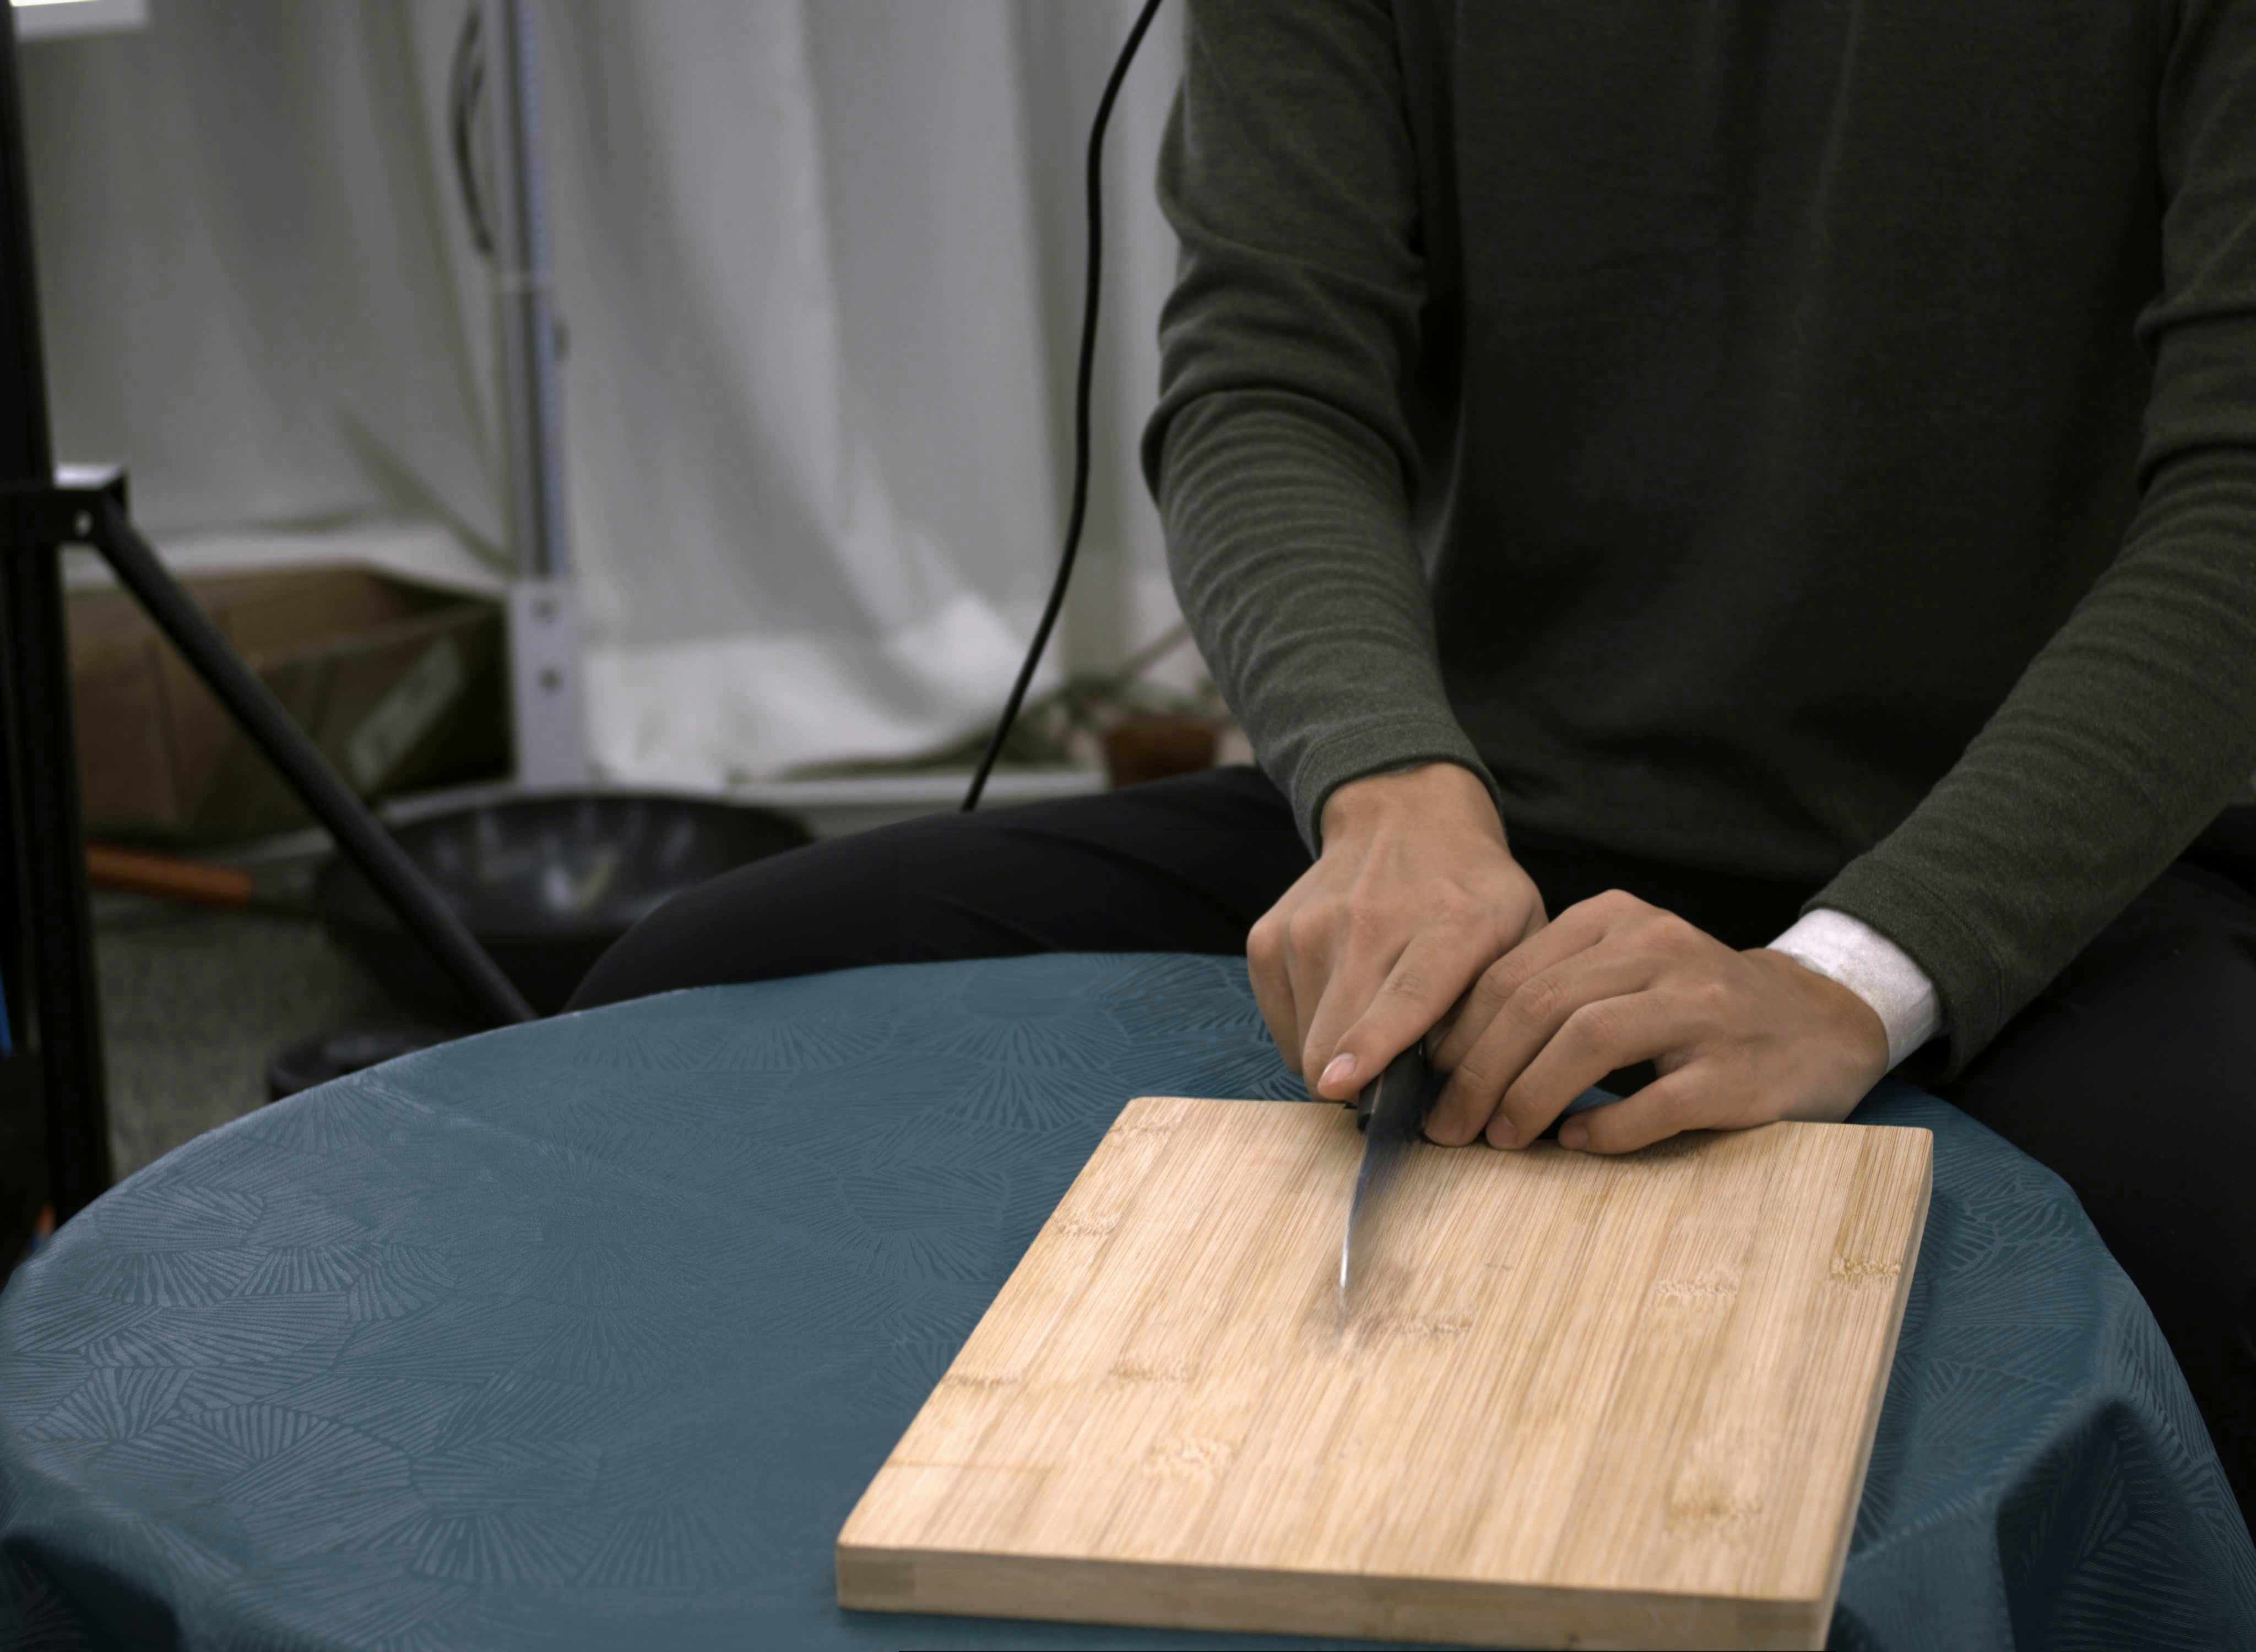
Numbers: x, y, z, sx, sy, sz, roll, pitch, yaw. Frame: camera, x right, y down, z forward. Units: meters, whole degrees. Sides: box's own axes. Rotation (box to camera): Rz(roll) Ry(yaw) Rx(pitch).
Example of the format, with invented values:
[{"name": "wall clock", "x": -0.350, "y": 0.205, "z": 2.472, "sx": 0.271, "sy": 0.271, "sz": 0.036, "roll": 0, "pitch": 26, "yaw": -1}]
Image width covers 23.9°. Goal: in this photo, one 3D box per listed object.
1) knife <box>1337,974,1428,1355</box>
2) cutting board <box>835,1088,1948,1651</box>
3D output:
[{"name": "knife", "x": 0.069, "y": 0.091, "z": 1.485, "sx": 0.016, "sy": 0.024, "sz": 0.238, "roll": -5, "pitch": 20, "yaw": 9}, {"name": "cutting board", "x": 0.084, "y": 0.139, "z": 1.412, "sx": 0.252, "sy": 0.023, "sz": 0.346, "roll": 2, "pitch": 16, "yaw": 12}]
